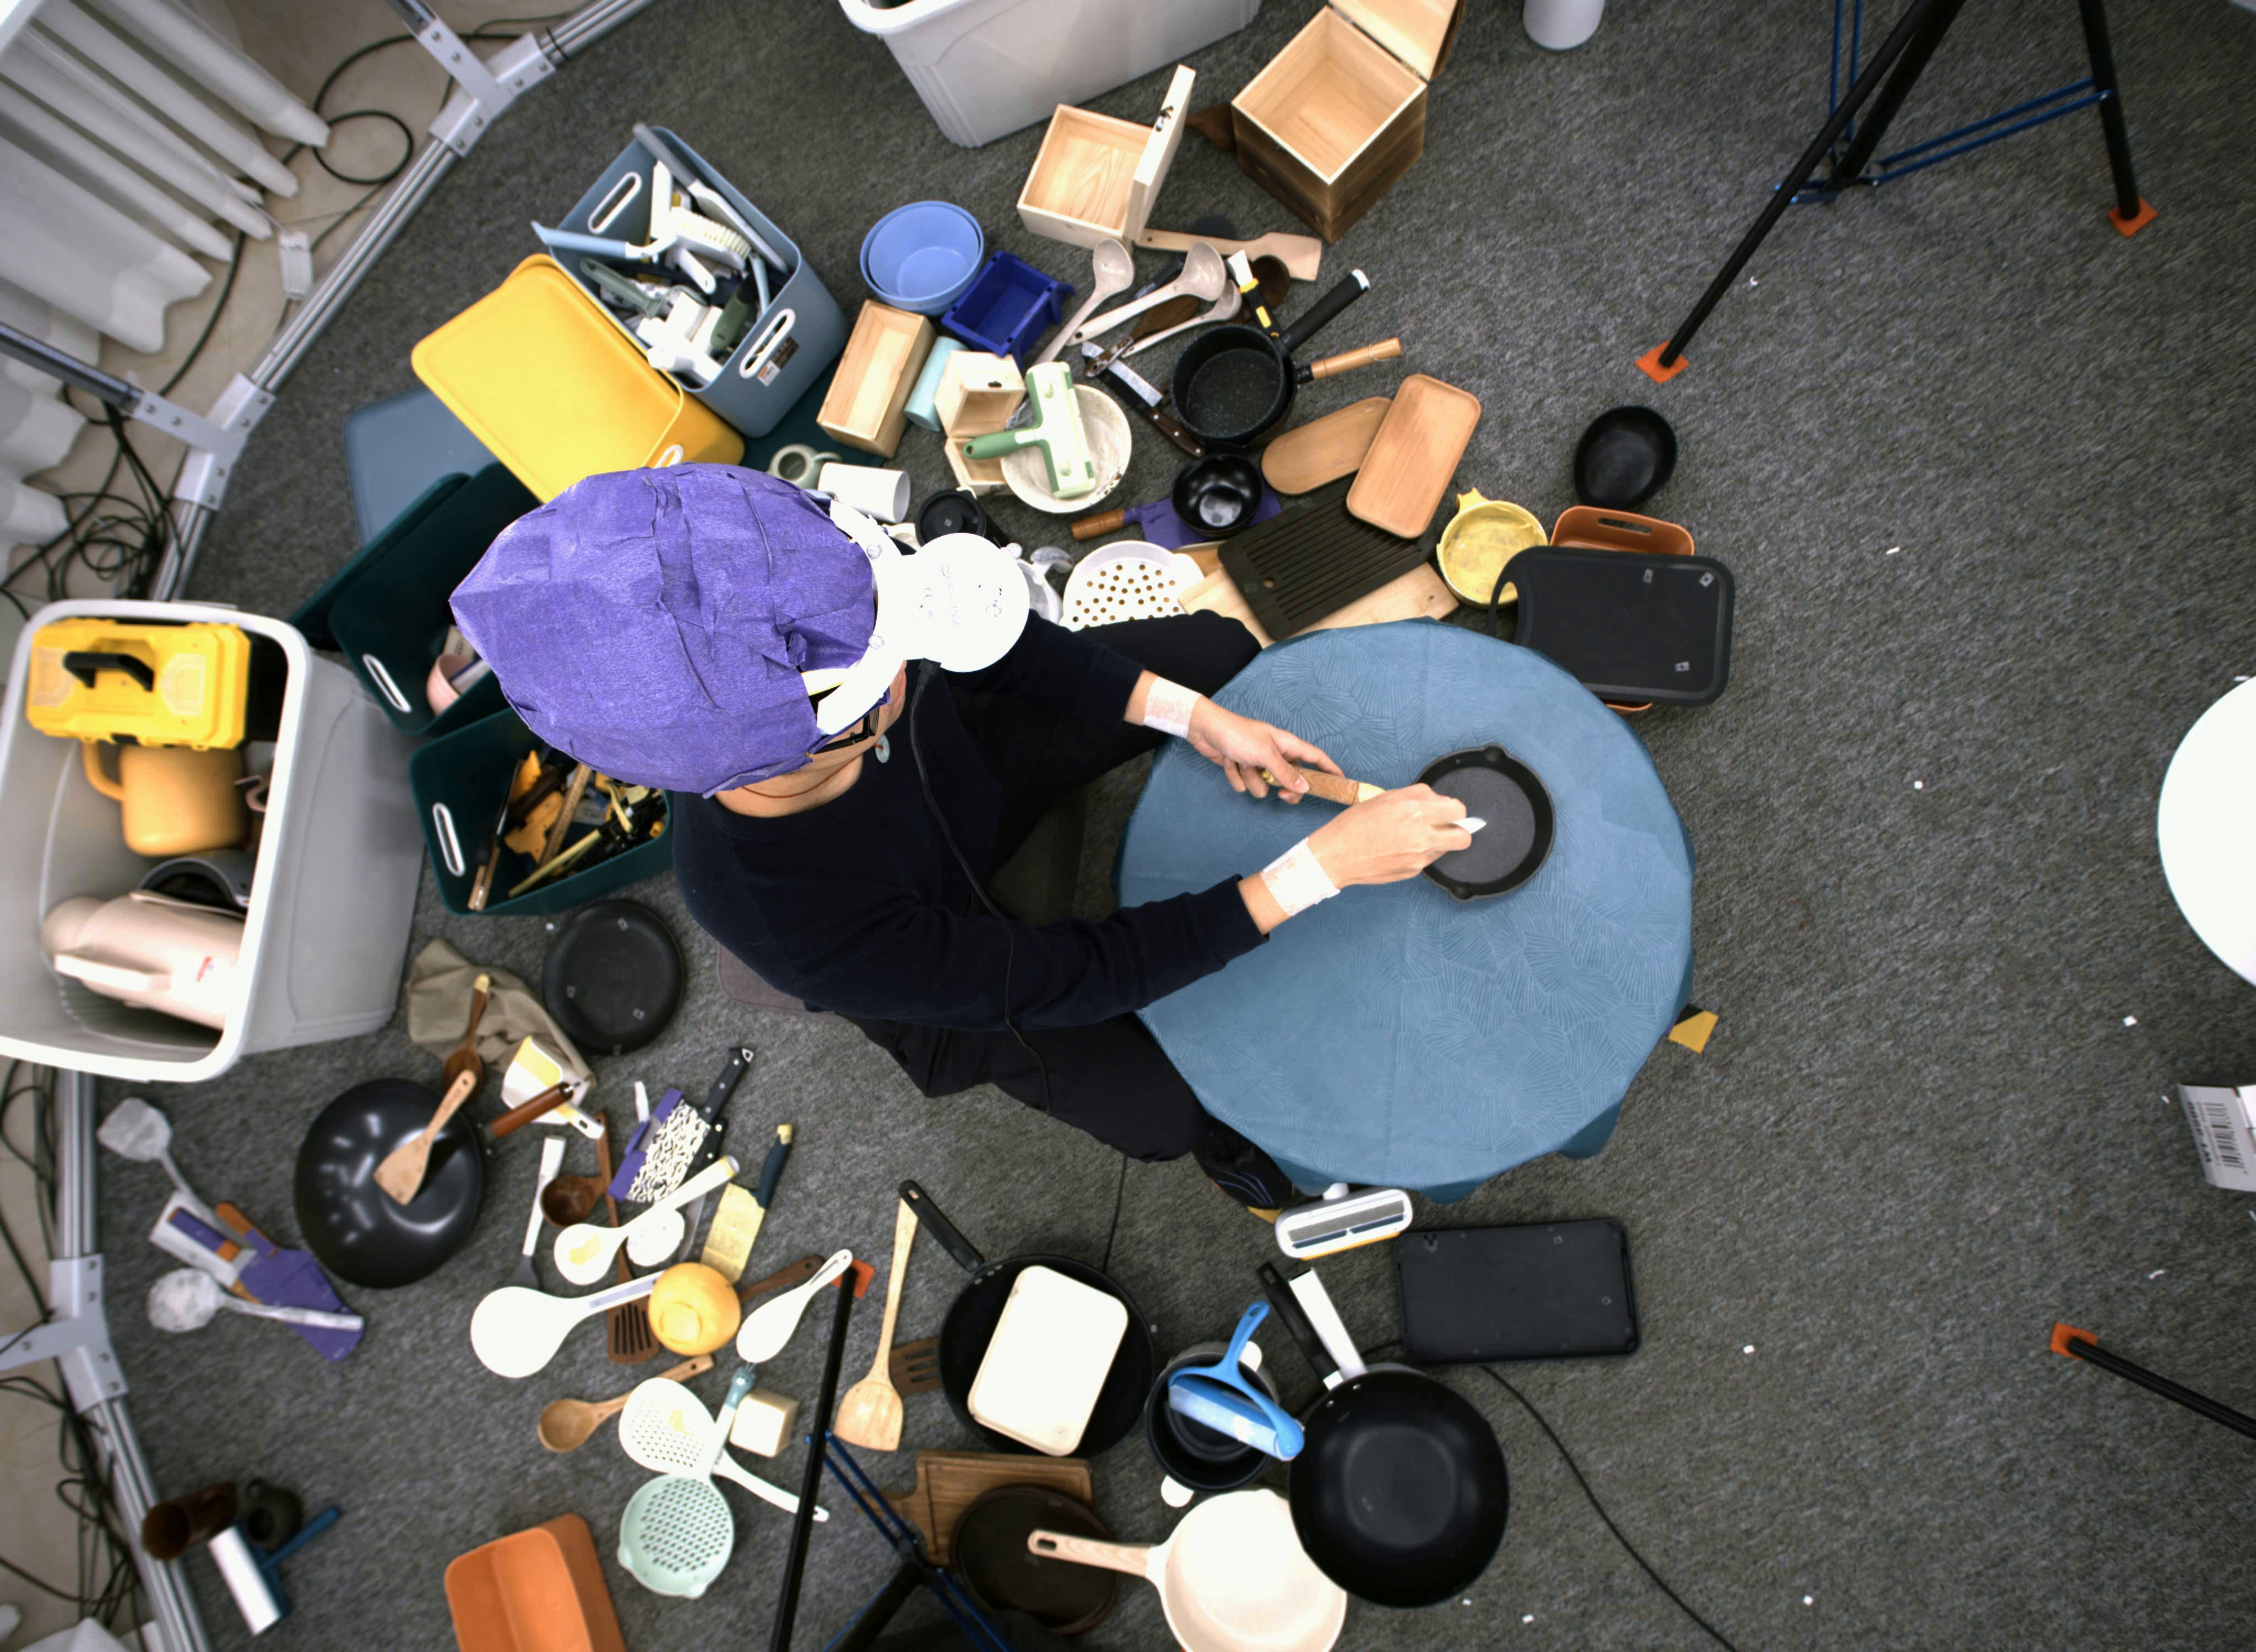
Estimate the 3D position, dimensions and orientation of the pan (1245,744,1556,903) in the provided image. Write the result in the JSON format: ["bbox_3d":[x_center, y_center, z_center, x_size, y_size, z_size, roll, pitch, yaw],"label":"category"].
[{"bbox_3d":[0.281,-0.027,1.433,0.324,0.049,0.168,16,89,8],"label":"pan"}]

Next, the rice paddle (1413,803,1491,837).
[{"bbox_3d":[0.306,-0.007,1.320,0.069,0.204,0.029,-11,86,21],"label":"rice paddle"}]
